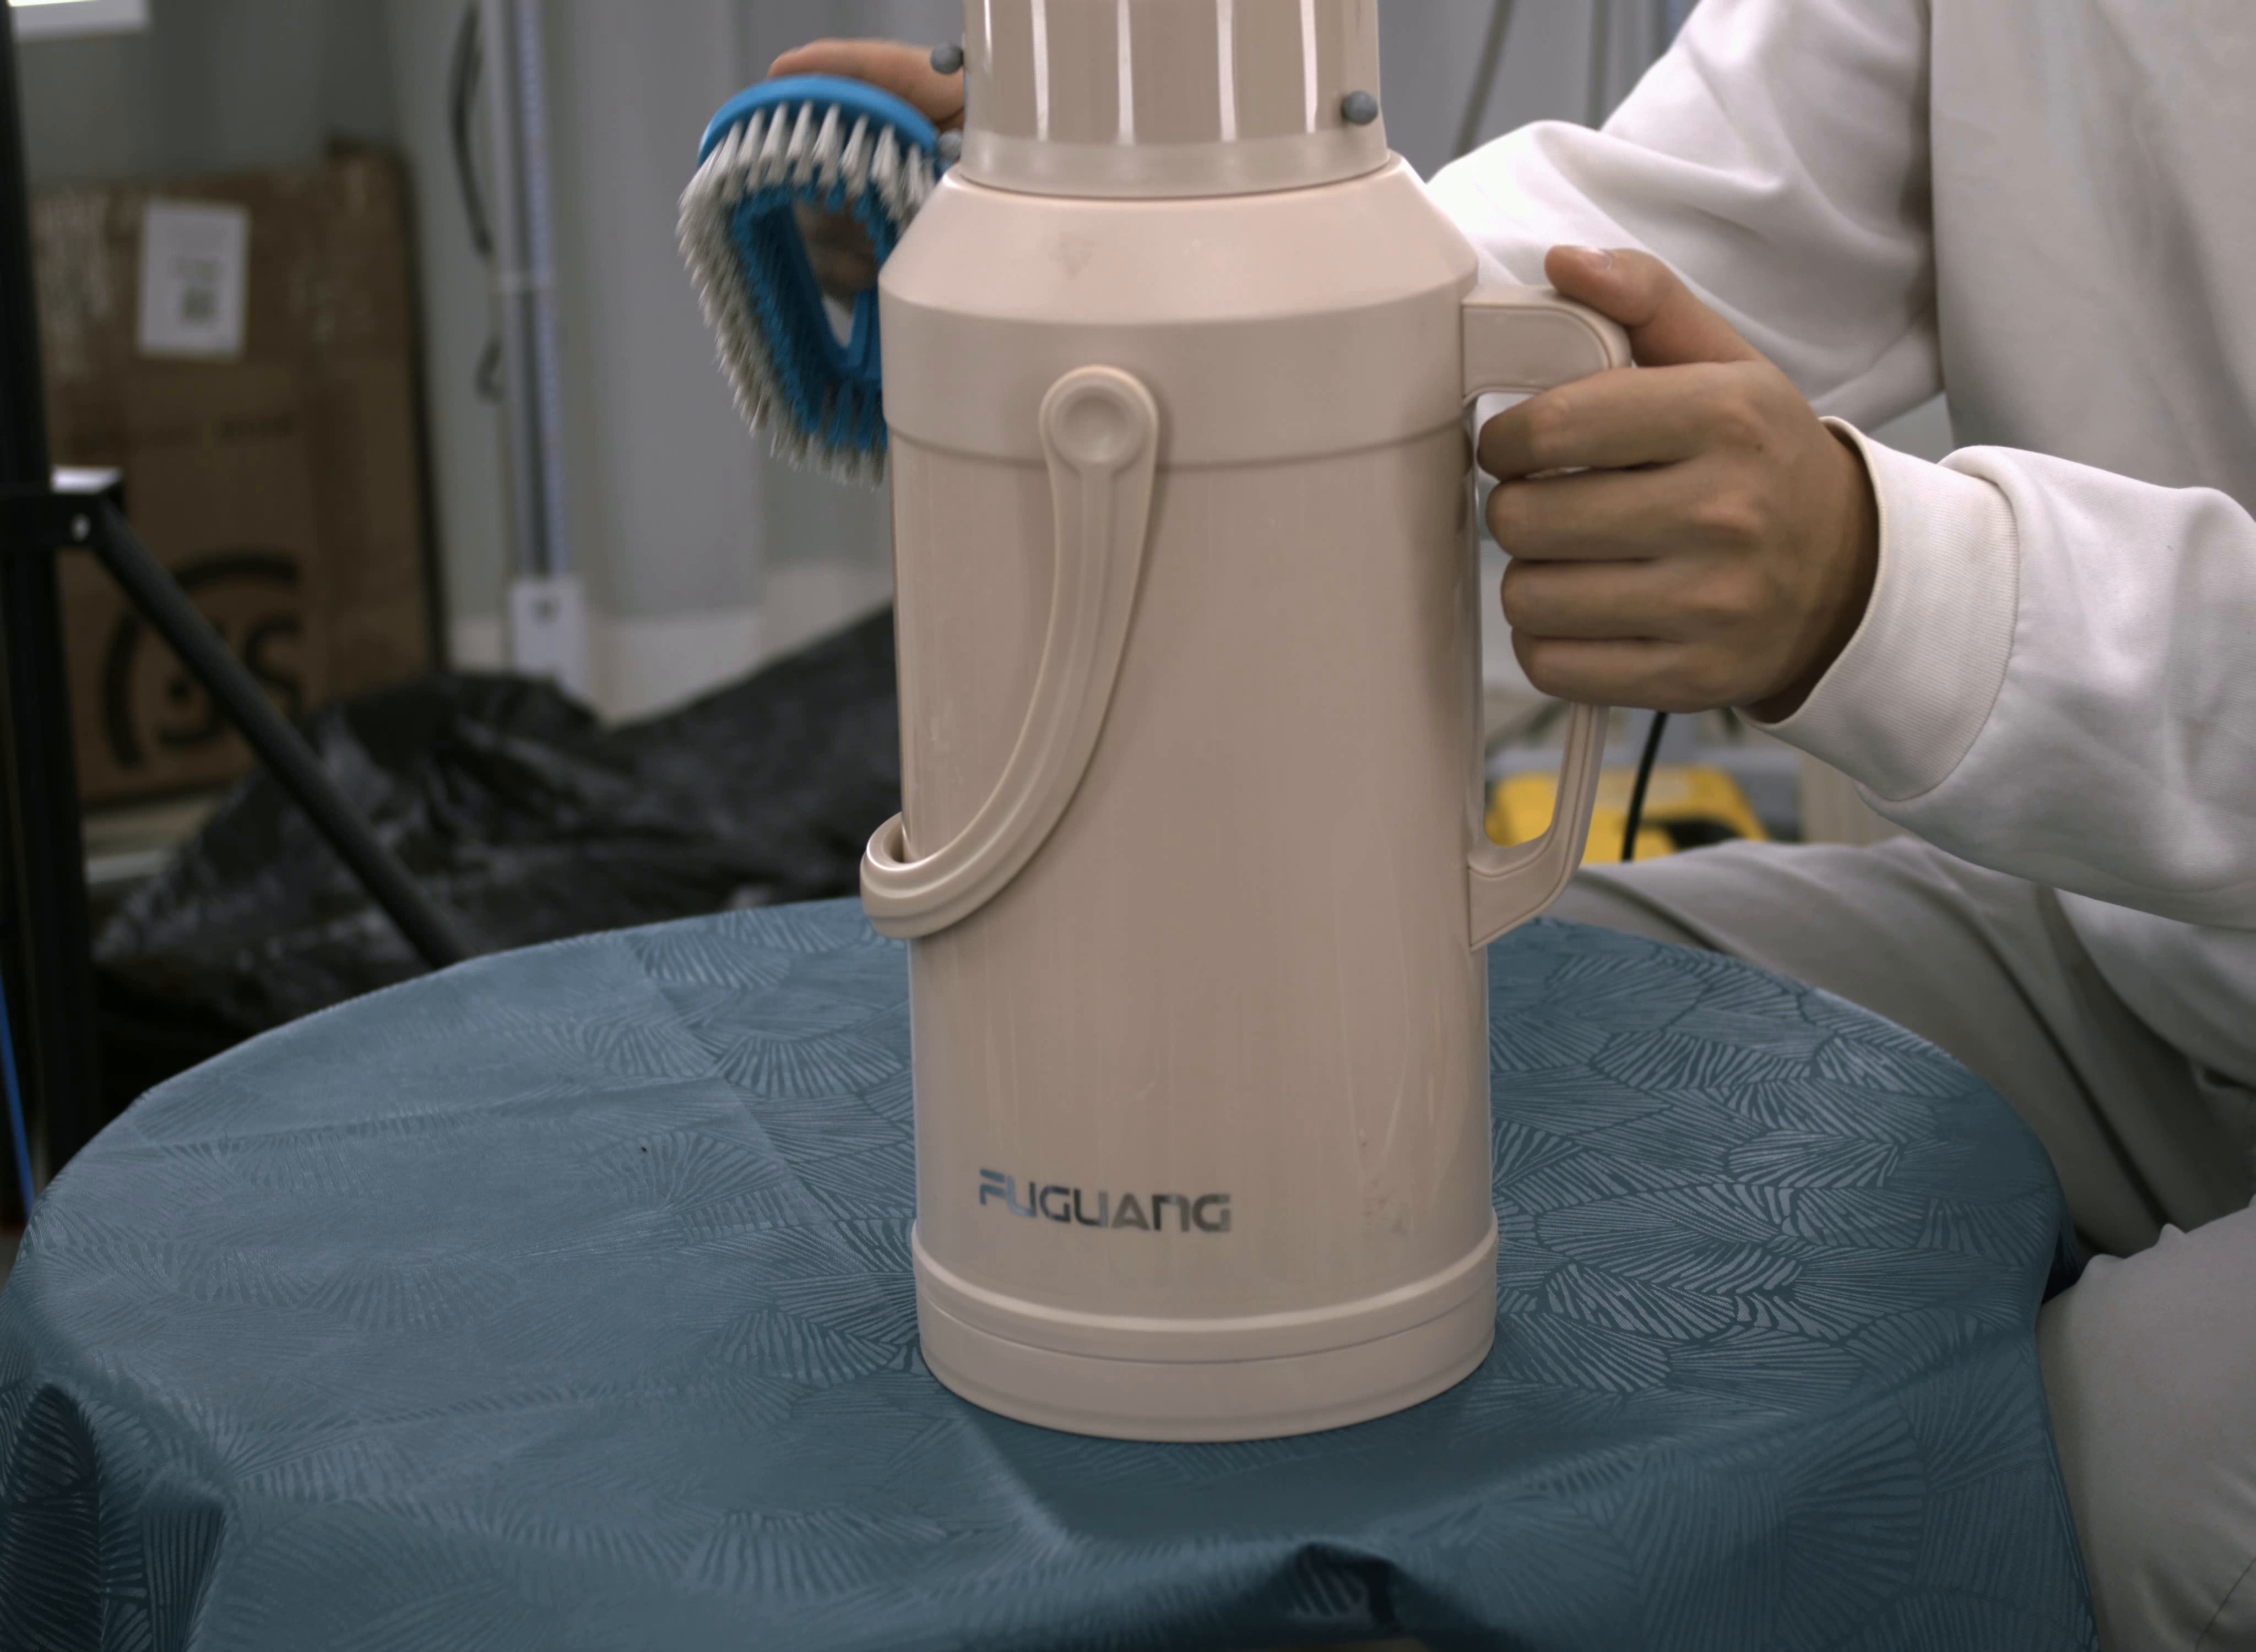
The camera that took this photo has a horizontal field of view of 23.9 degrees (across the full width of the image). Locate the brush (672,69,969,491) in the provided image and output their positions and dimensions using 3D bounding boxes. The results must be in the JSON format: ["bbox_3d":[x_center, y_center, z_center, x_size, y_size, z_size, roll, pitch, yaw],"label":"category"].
[{"bbox_3d":[-0.079,-0.164,1.532,0.084,0.140,0.064,-8,49,11],"label":"brush"}]

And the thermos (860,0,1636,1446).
[{"bbox_3d":[0.029,-0.051,1.391,0.208,0.406,0.174,2,14,15],"label":"thermos"}]
